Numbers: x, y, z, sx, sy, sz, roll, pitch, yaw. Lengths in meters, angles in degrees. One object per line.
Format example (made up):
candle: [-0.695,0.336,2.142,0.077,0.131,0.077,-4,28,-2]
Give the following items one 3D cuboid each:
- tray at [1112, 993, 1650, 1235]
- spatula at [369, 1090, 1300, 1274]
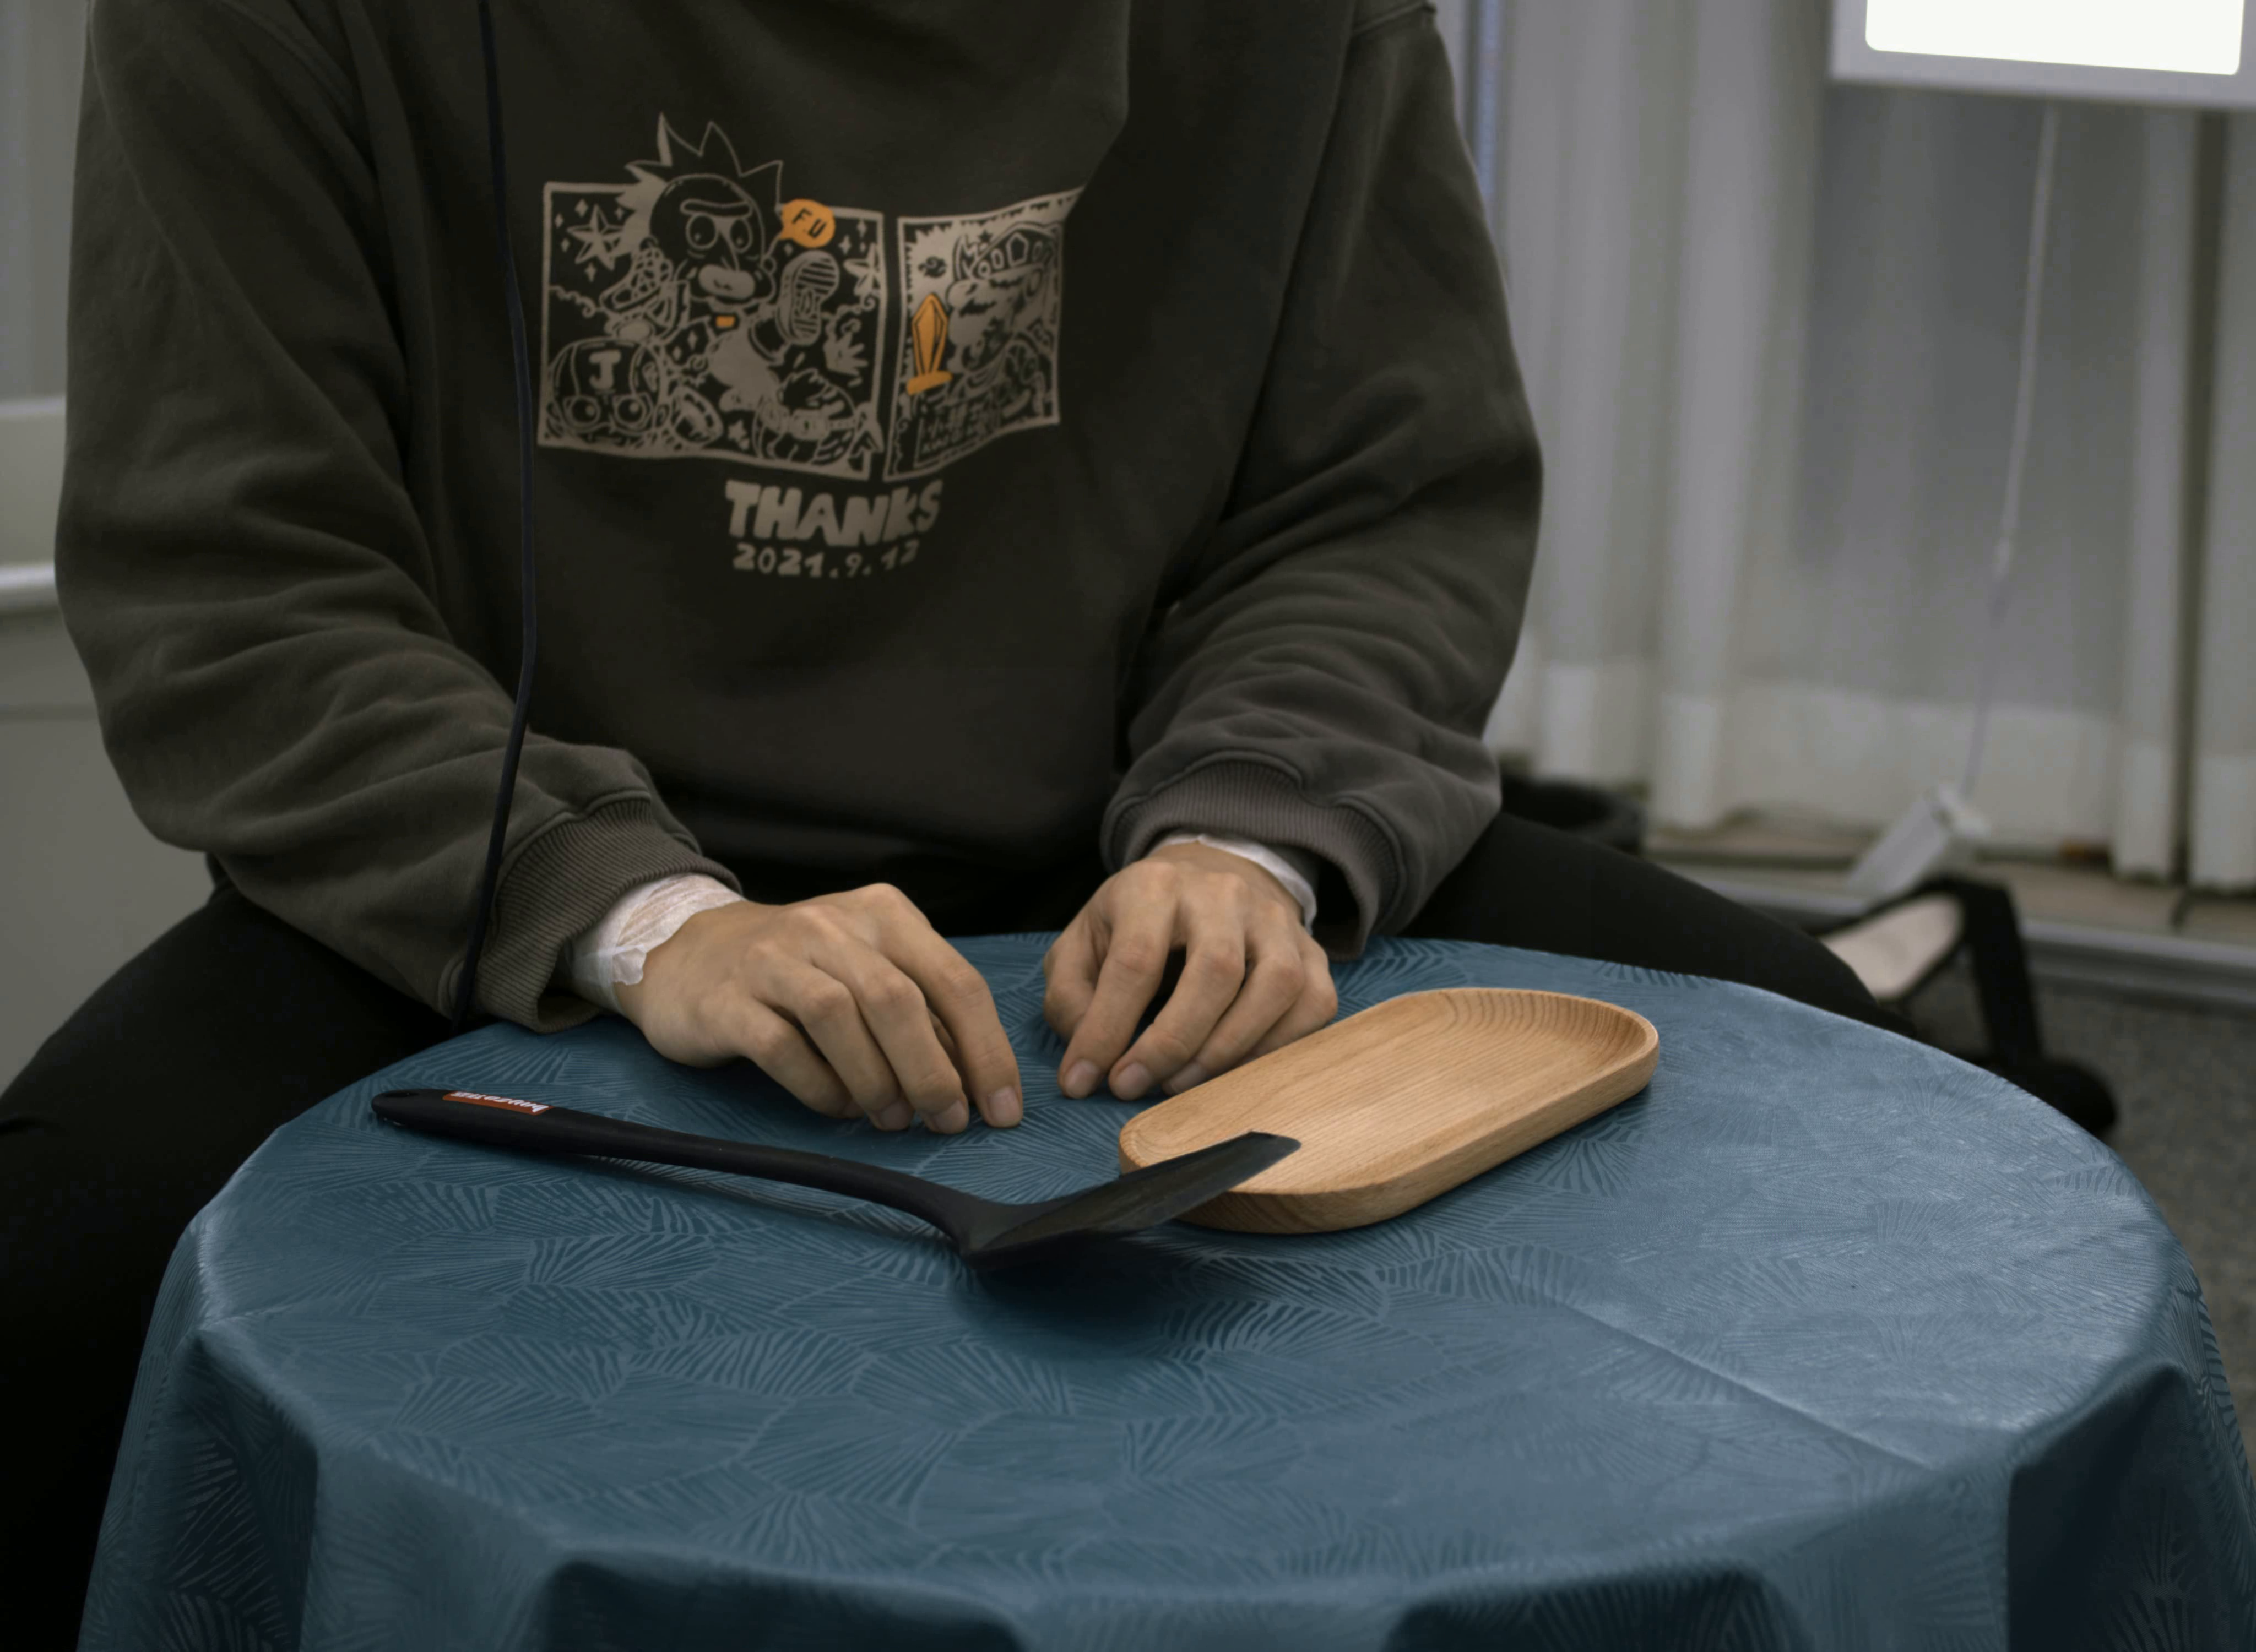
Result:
tray: [0.083,0.091,1.683,0.100,0.020,0.232,11,19,34]
spatula: [-0.105,0.098,1.609,0.322,0.040,0.100,10,17,30]
